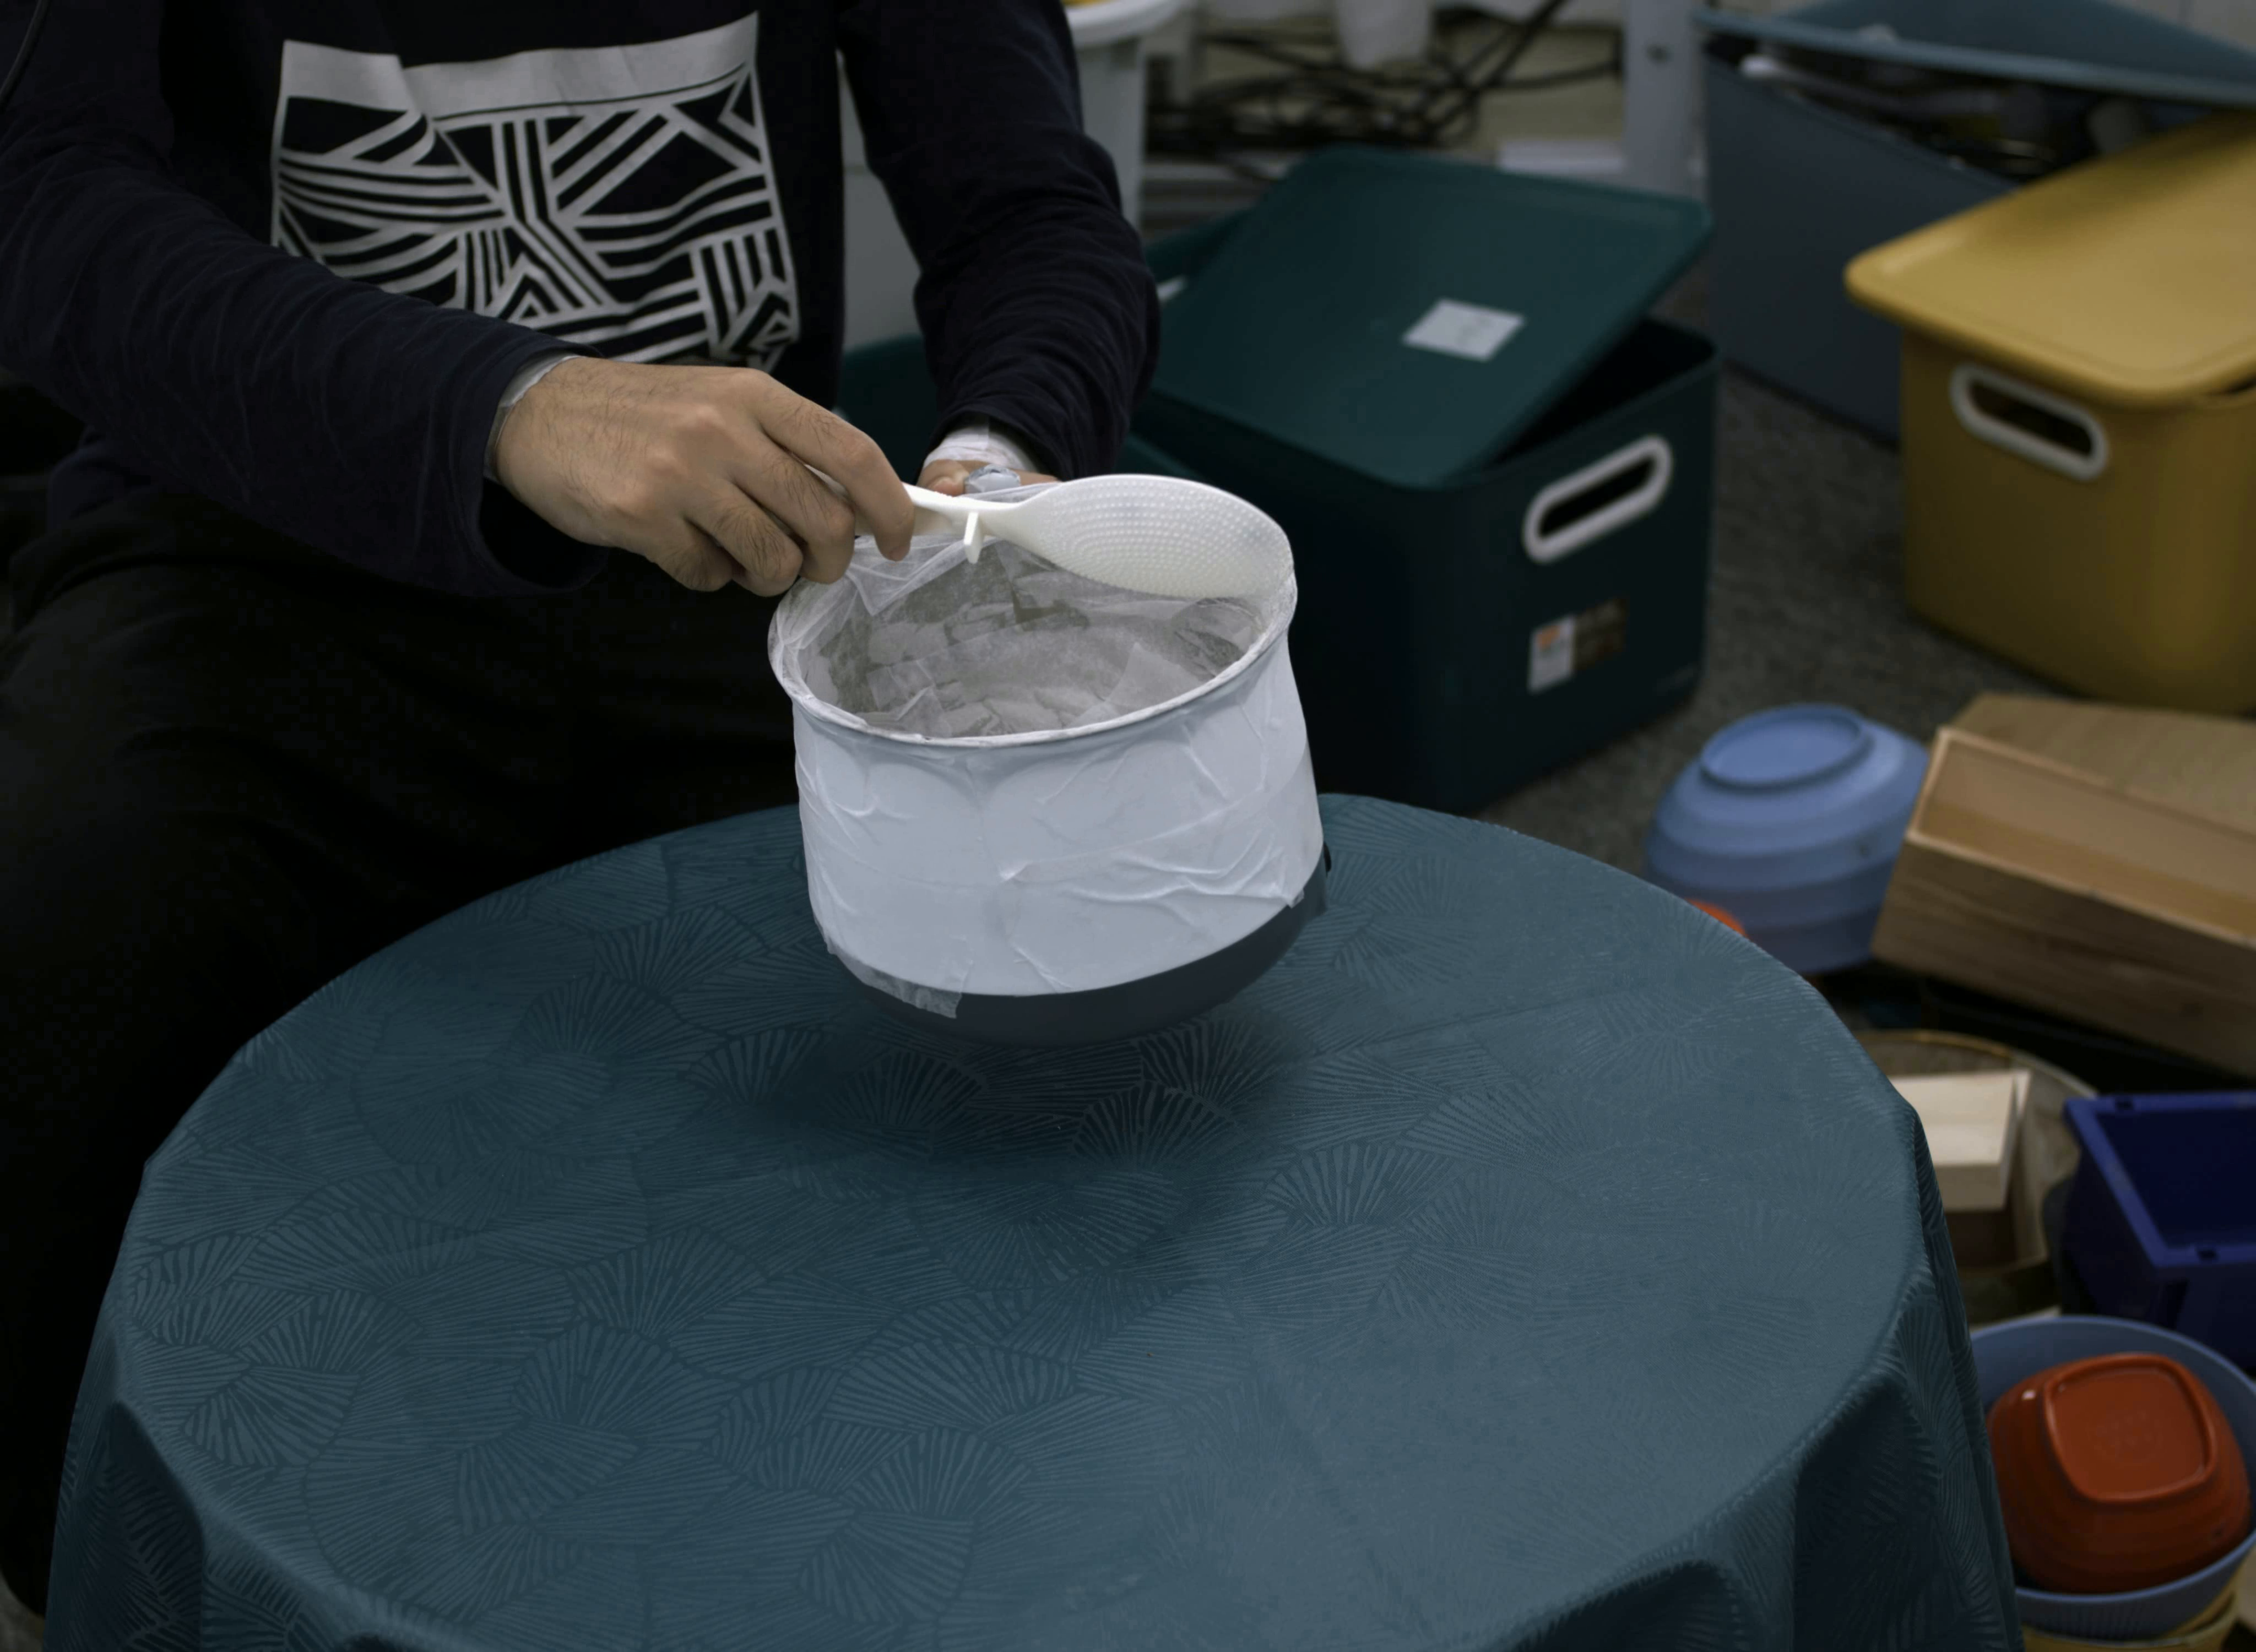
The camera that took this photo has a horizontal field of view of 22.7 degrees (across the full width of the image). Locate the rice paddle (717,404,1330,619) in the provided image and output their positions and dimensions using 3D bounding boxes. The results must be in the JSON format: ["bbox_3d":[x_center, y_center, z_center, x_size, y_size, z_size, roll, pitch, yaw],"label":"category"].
[{"bbox_3d":[-0.033,-0.103,1.855,0.204,0.067,0.030,12,56,-1],"label":"rice paddle"}]

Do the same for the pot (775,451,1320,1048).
[{"bbox_3d":[-0.031,-0.034,1.915,0.178,0.135,0.237,-8,31,-8],"label":"pot"}]
